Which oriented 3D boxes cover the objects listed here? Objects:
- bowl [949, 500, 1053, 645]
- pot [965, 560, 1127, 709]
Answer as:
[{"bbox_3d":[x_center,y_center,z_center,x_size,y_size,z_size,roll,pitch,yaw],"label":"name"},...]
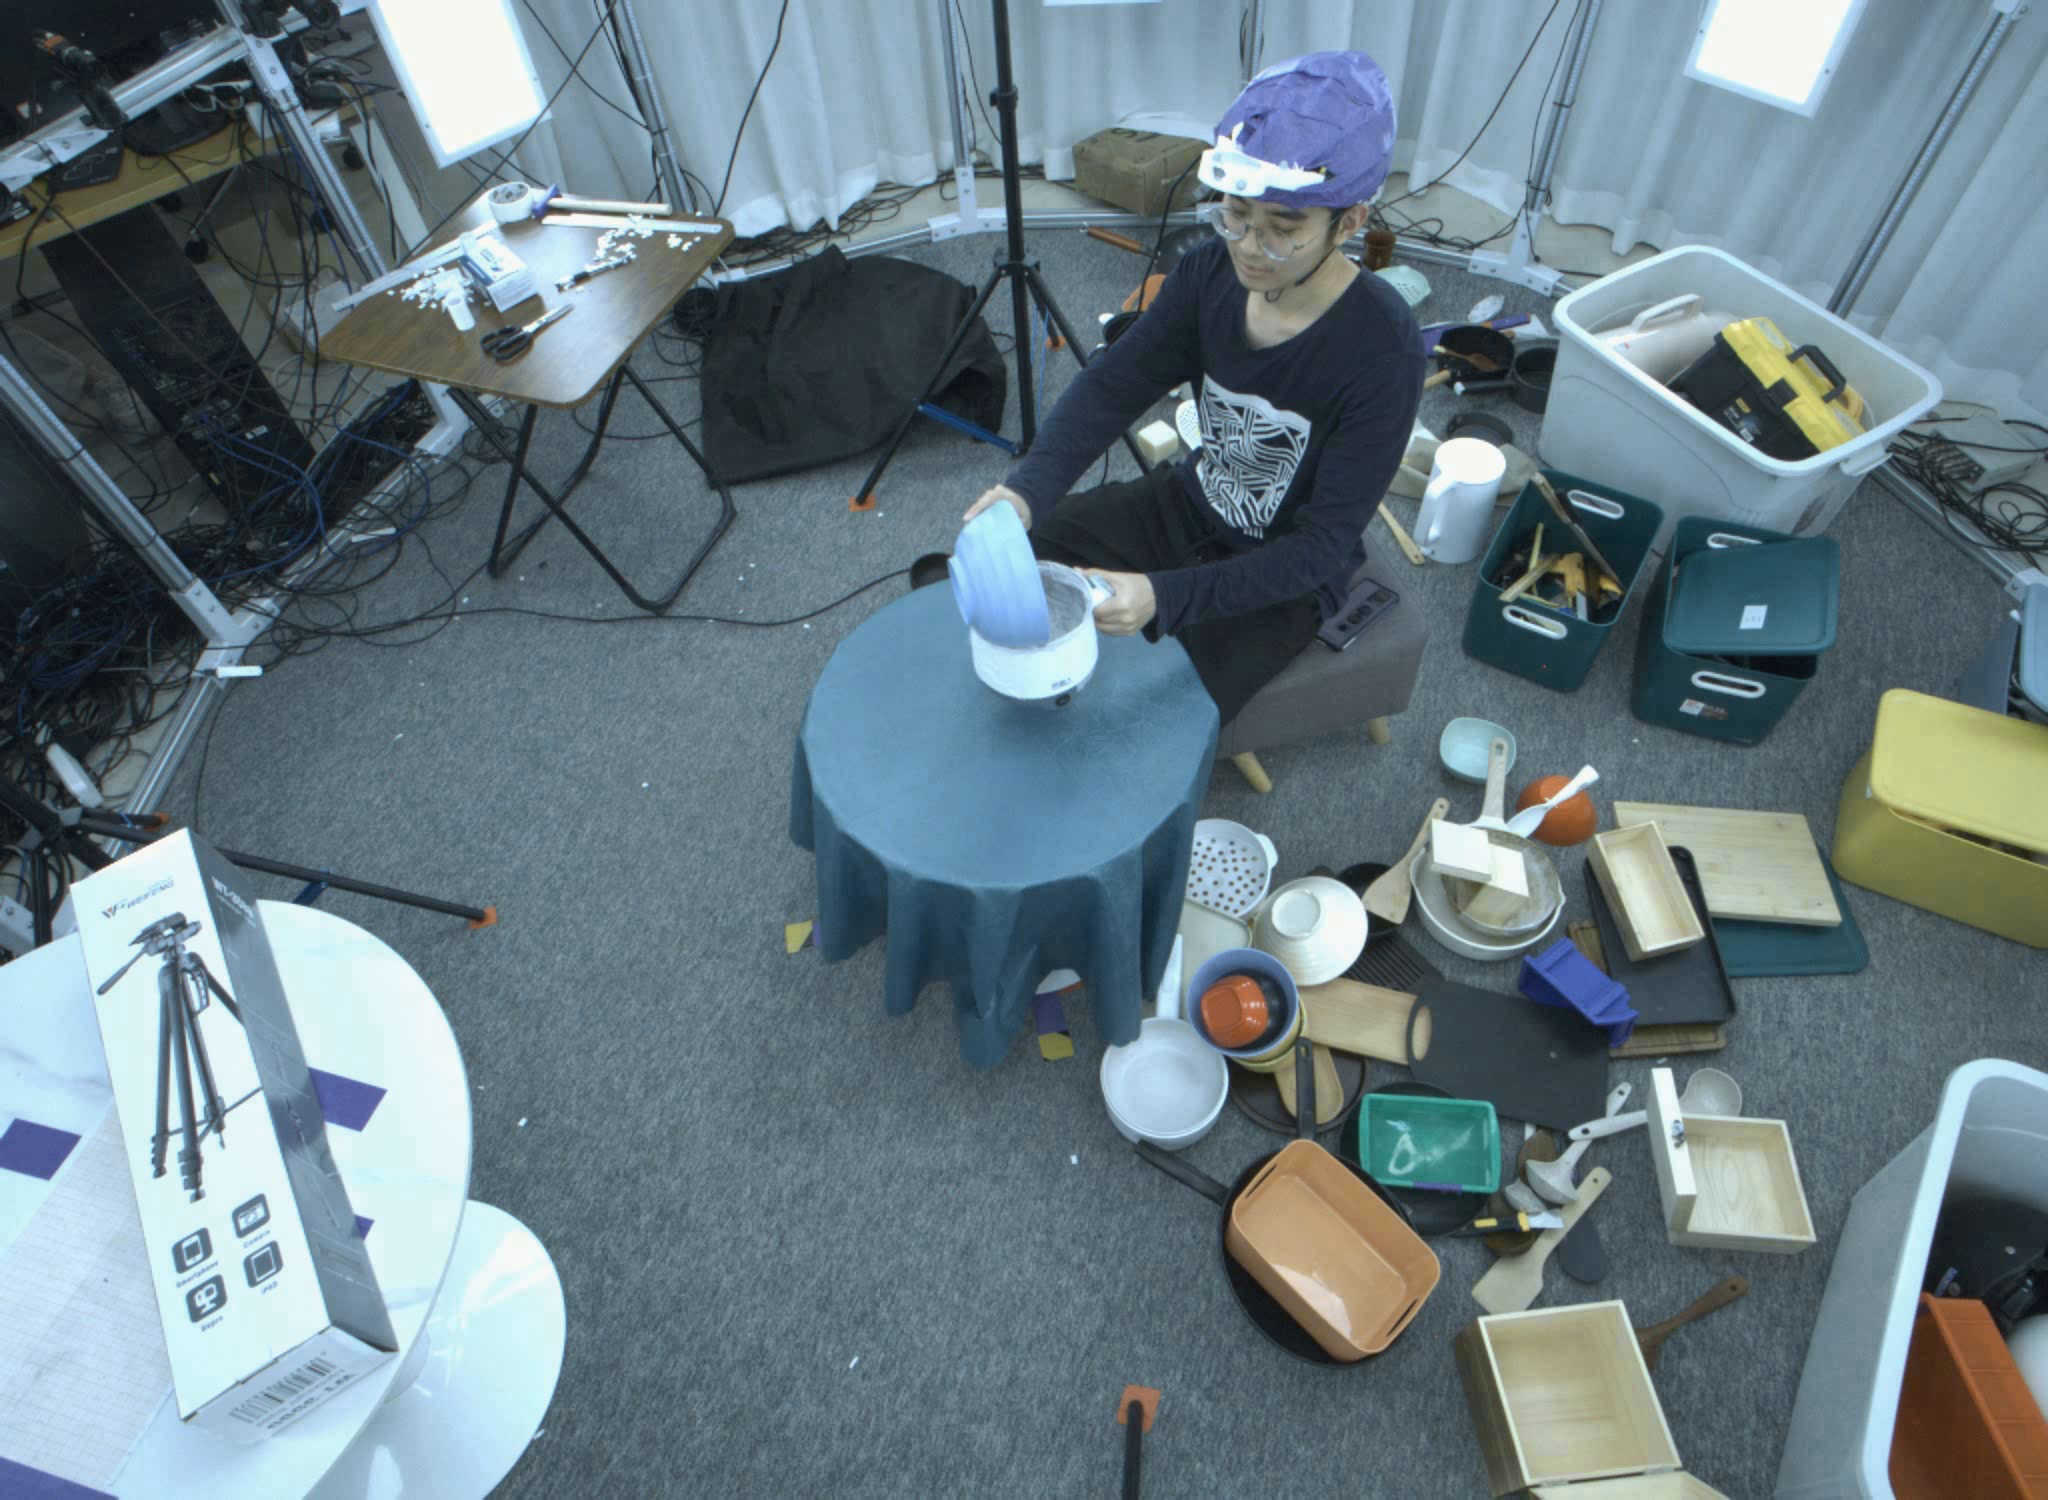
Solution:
[{"bbox_3d":[-0.040,-0.219,1.603,0.096,0.199,0.193,-19,56,-4],"label":"bowl"},{"bbox_3d":[0.037,-0.171,1.734,0.235,0.138,0.175,-24,55,-14],"label":"pot"}]
